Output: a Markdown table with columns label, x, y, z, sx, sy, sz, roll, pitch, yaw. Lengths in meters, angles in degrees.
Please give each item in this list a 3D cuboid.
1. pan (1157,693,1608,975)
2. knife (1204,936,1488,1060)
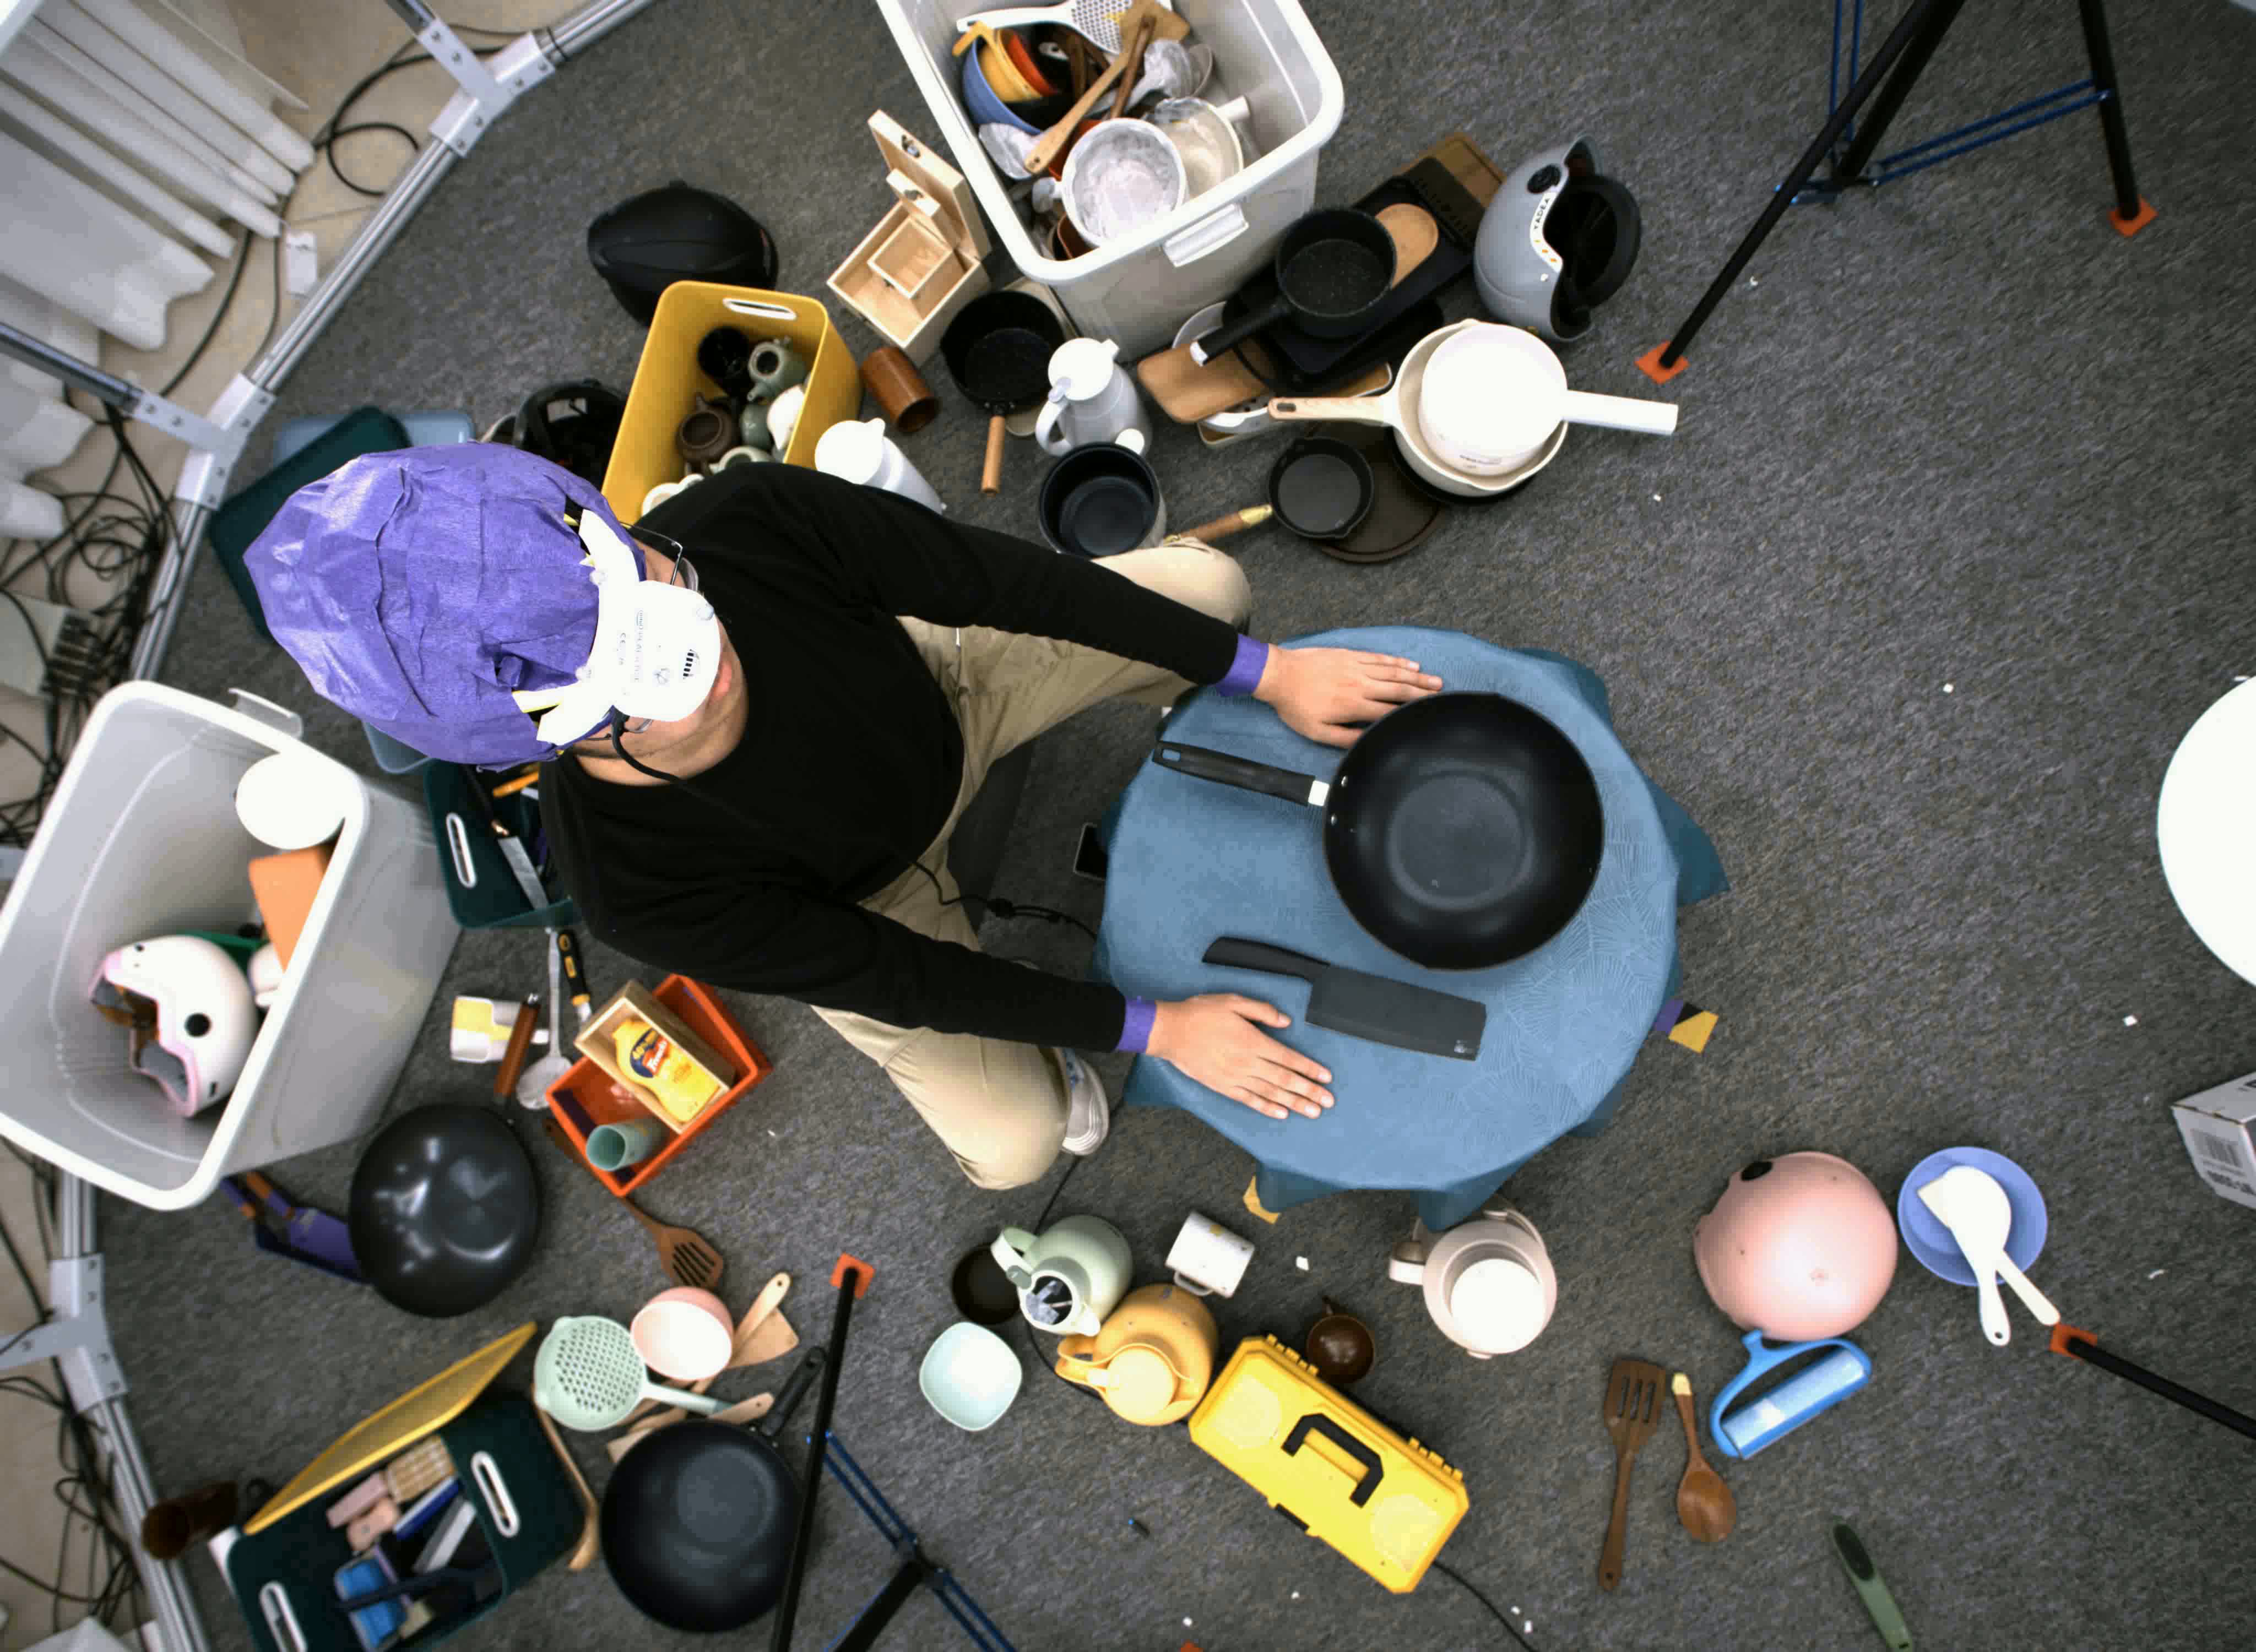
| label | x | y | z | sx | sy | sz | roll | pitch | yaw |
| --- | --- | --- | --- | --- | --- | --- | --- | --- | --- |
| pan | 0.255 | -0.016 | 1.427 | 0.464 | 0.087 | 0.288 | 16 | 90 | 12 |
| knife | 0.226 | 0.176 | 1.458 | 0.302 | 0.021 | 0.081 | 18 | 91 | 9 |
